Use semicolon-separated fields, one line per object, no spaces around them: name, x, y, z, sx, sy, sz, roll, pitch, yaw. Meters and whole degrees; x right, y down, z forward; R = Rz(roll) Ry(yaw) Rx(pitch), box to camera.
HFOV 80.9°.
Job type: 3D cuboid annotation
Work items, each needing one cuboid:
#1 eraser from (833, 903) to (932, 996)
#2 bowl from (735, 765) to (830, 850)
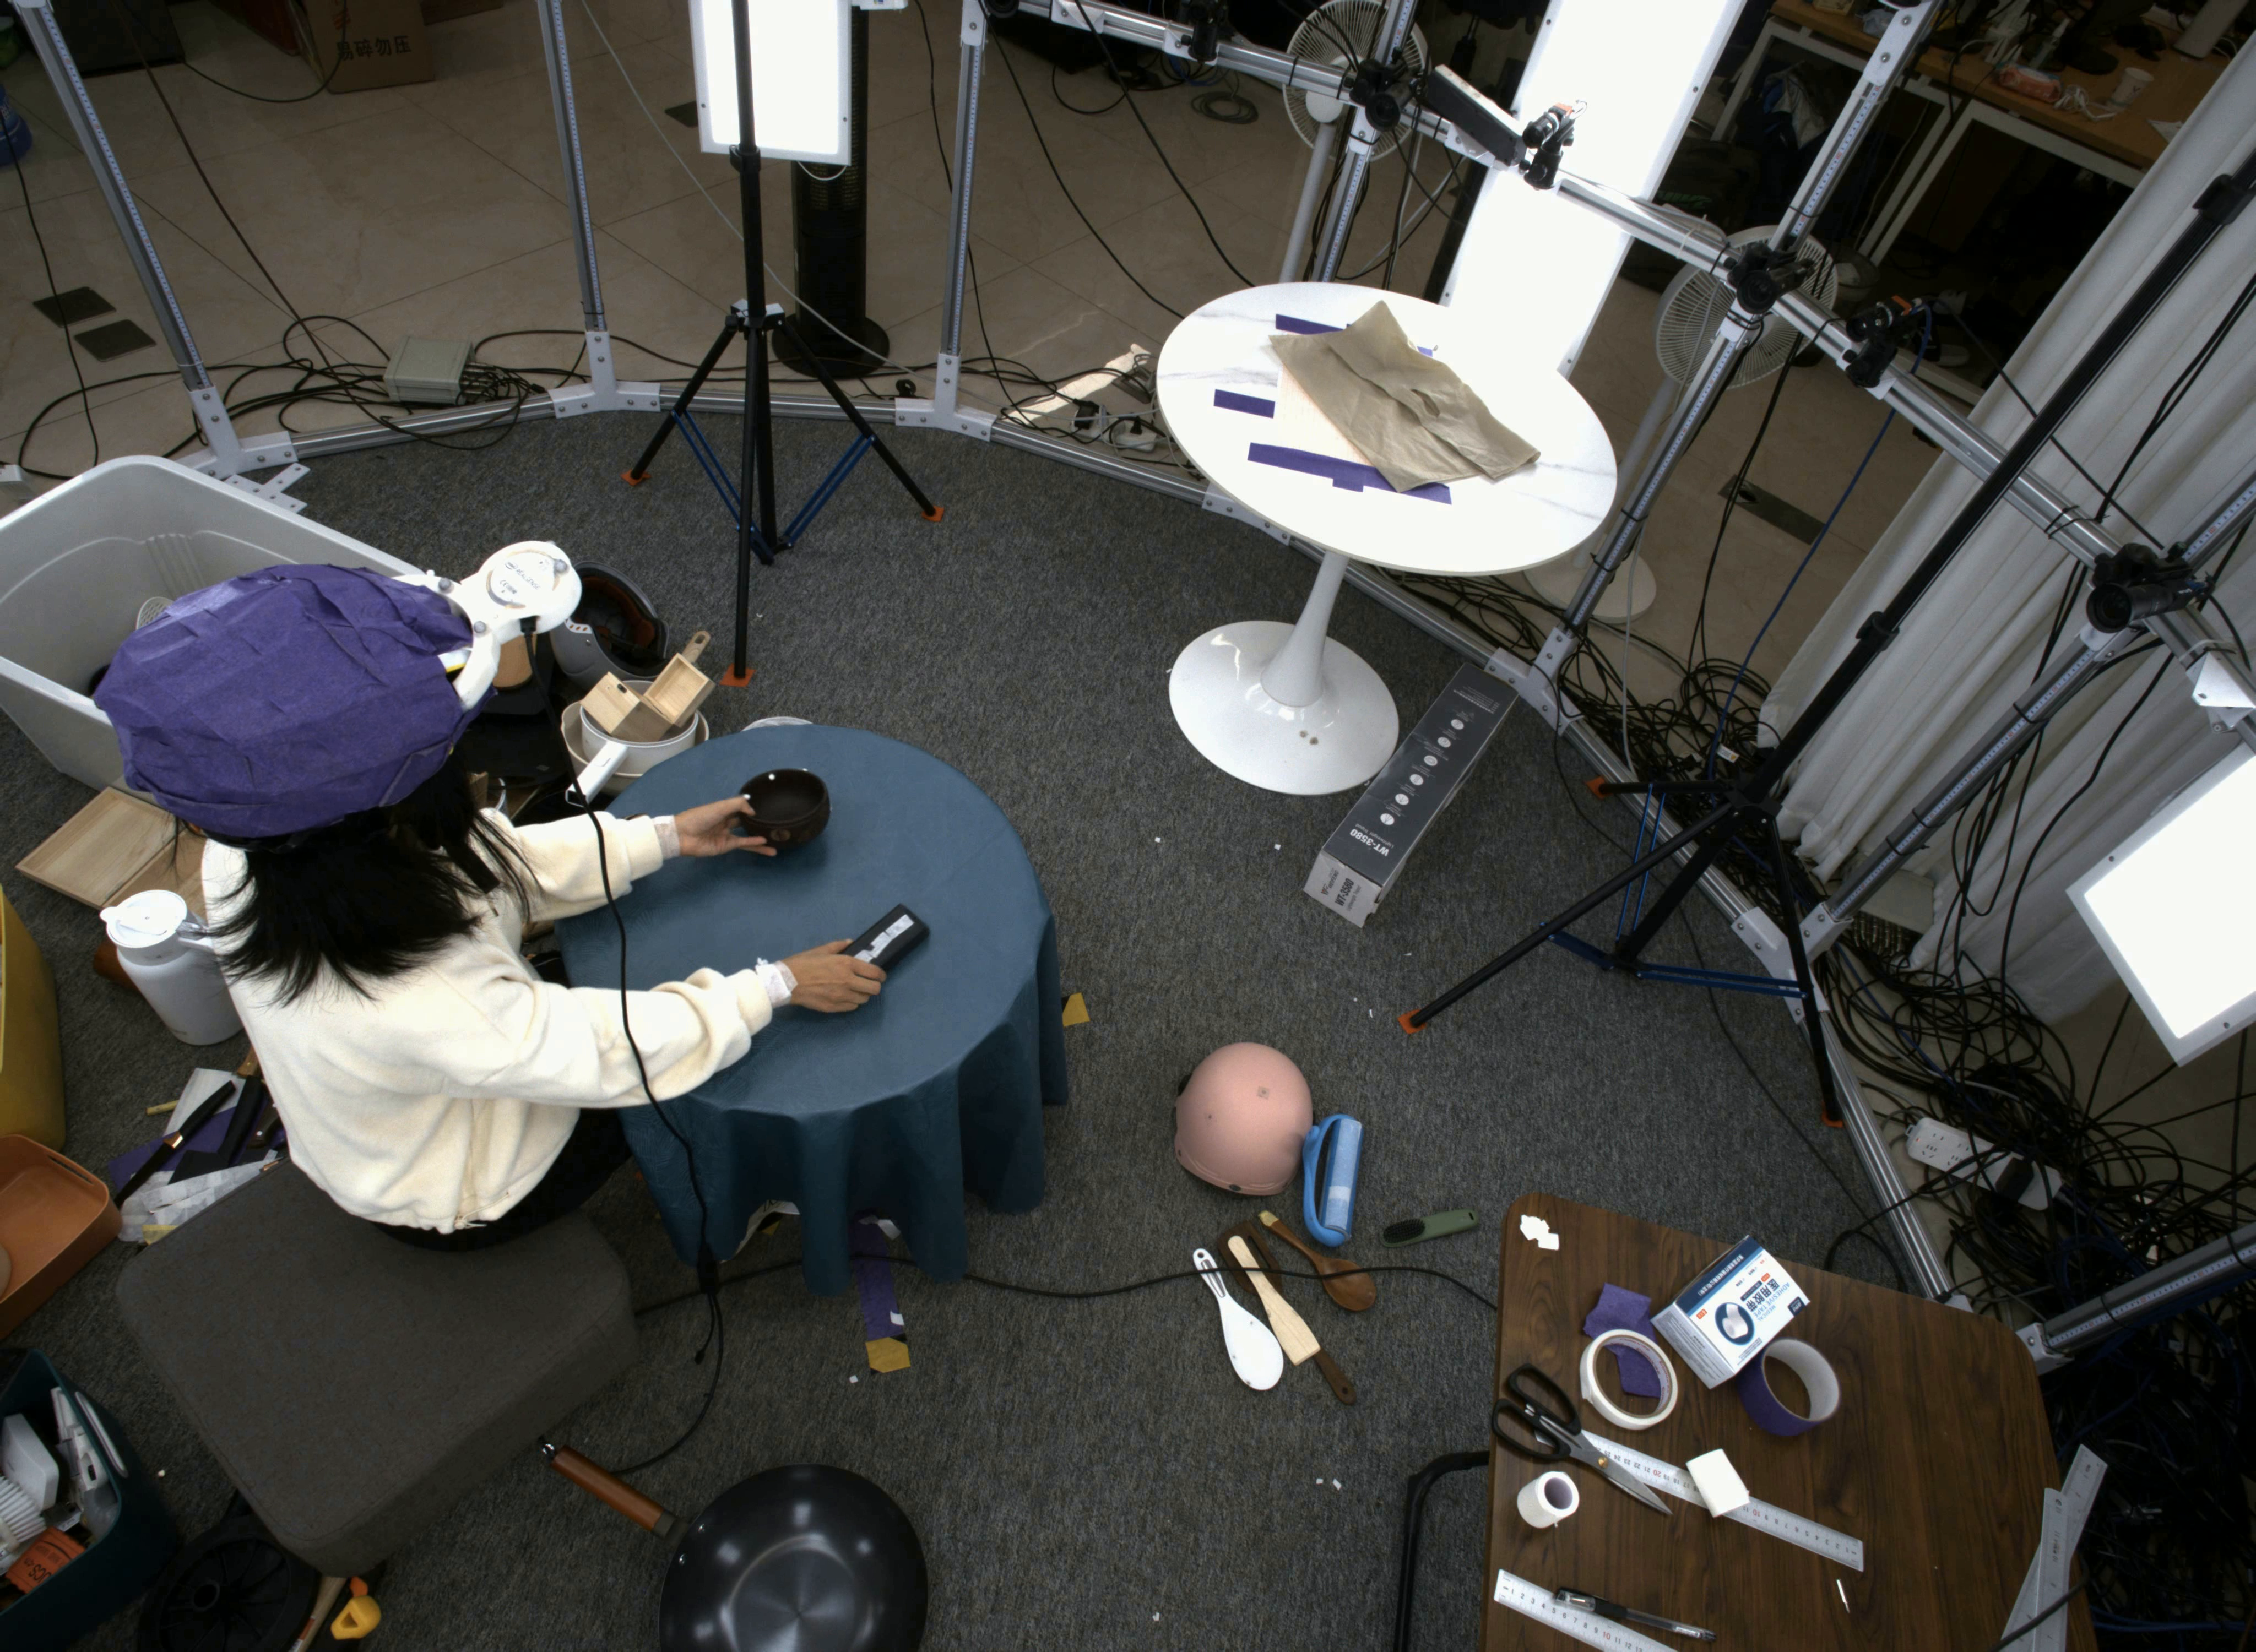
eraser;-0.305;0.150;1.620;0.052;0.031;0.125;36;55;13
bowl;-0.443;-0.016;1.670;0.117;0.072;0.115;3;43;-1
